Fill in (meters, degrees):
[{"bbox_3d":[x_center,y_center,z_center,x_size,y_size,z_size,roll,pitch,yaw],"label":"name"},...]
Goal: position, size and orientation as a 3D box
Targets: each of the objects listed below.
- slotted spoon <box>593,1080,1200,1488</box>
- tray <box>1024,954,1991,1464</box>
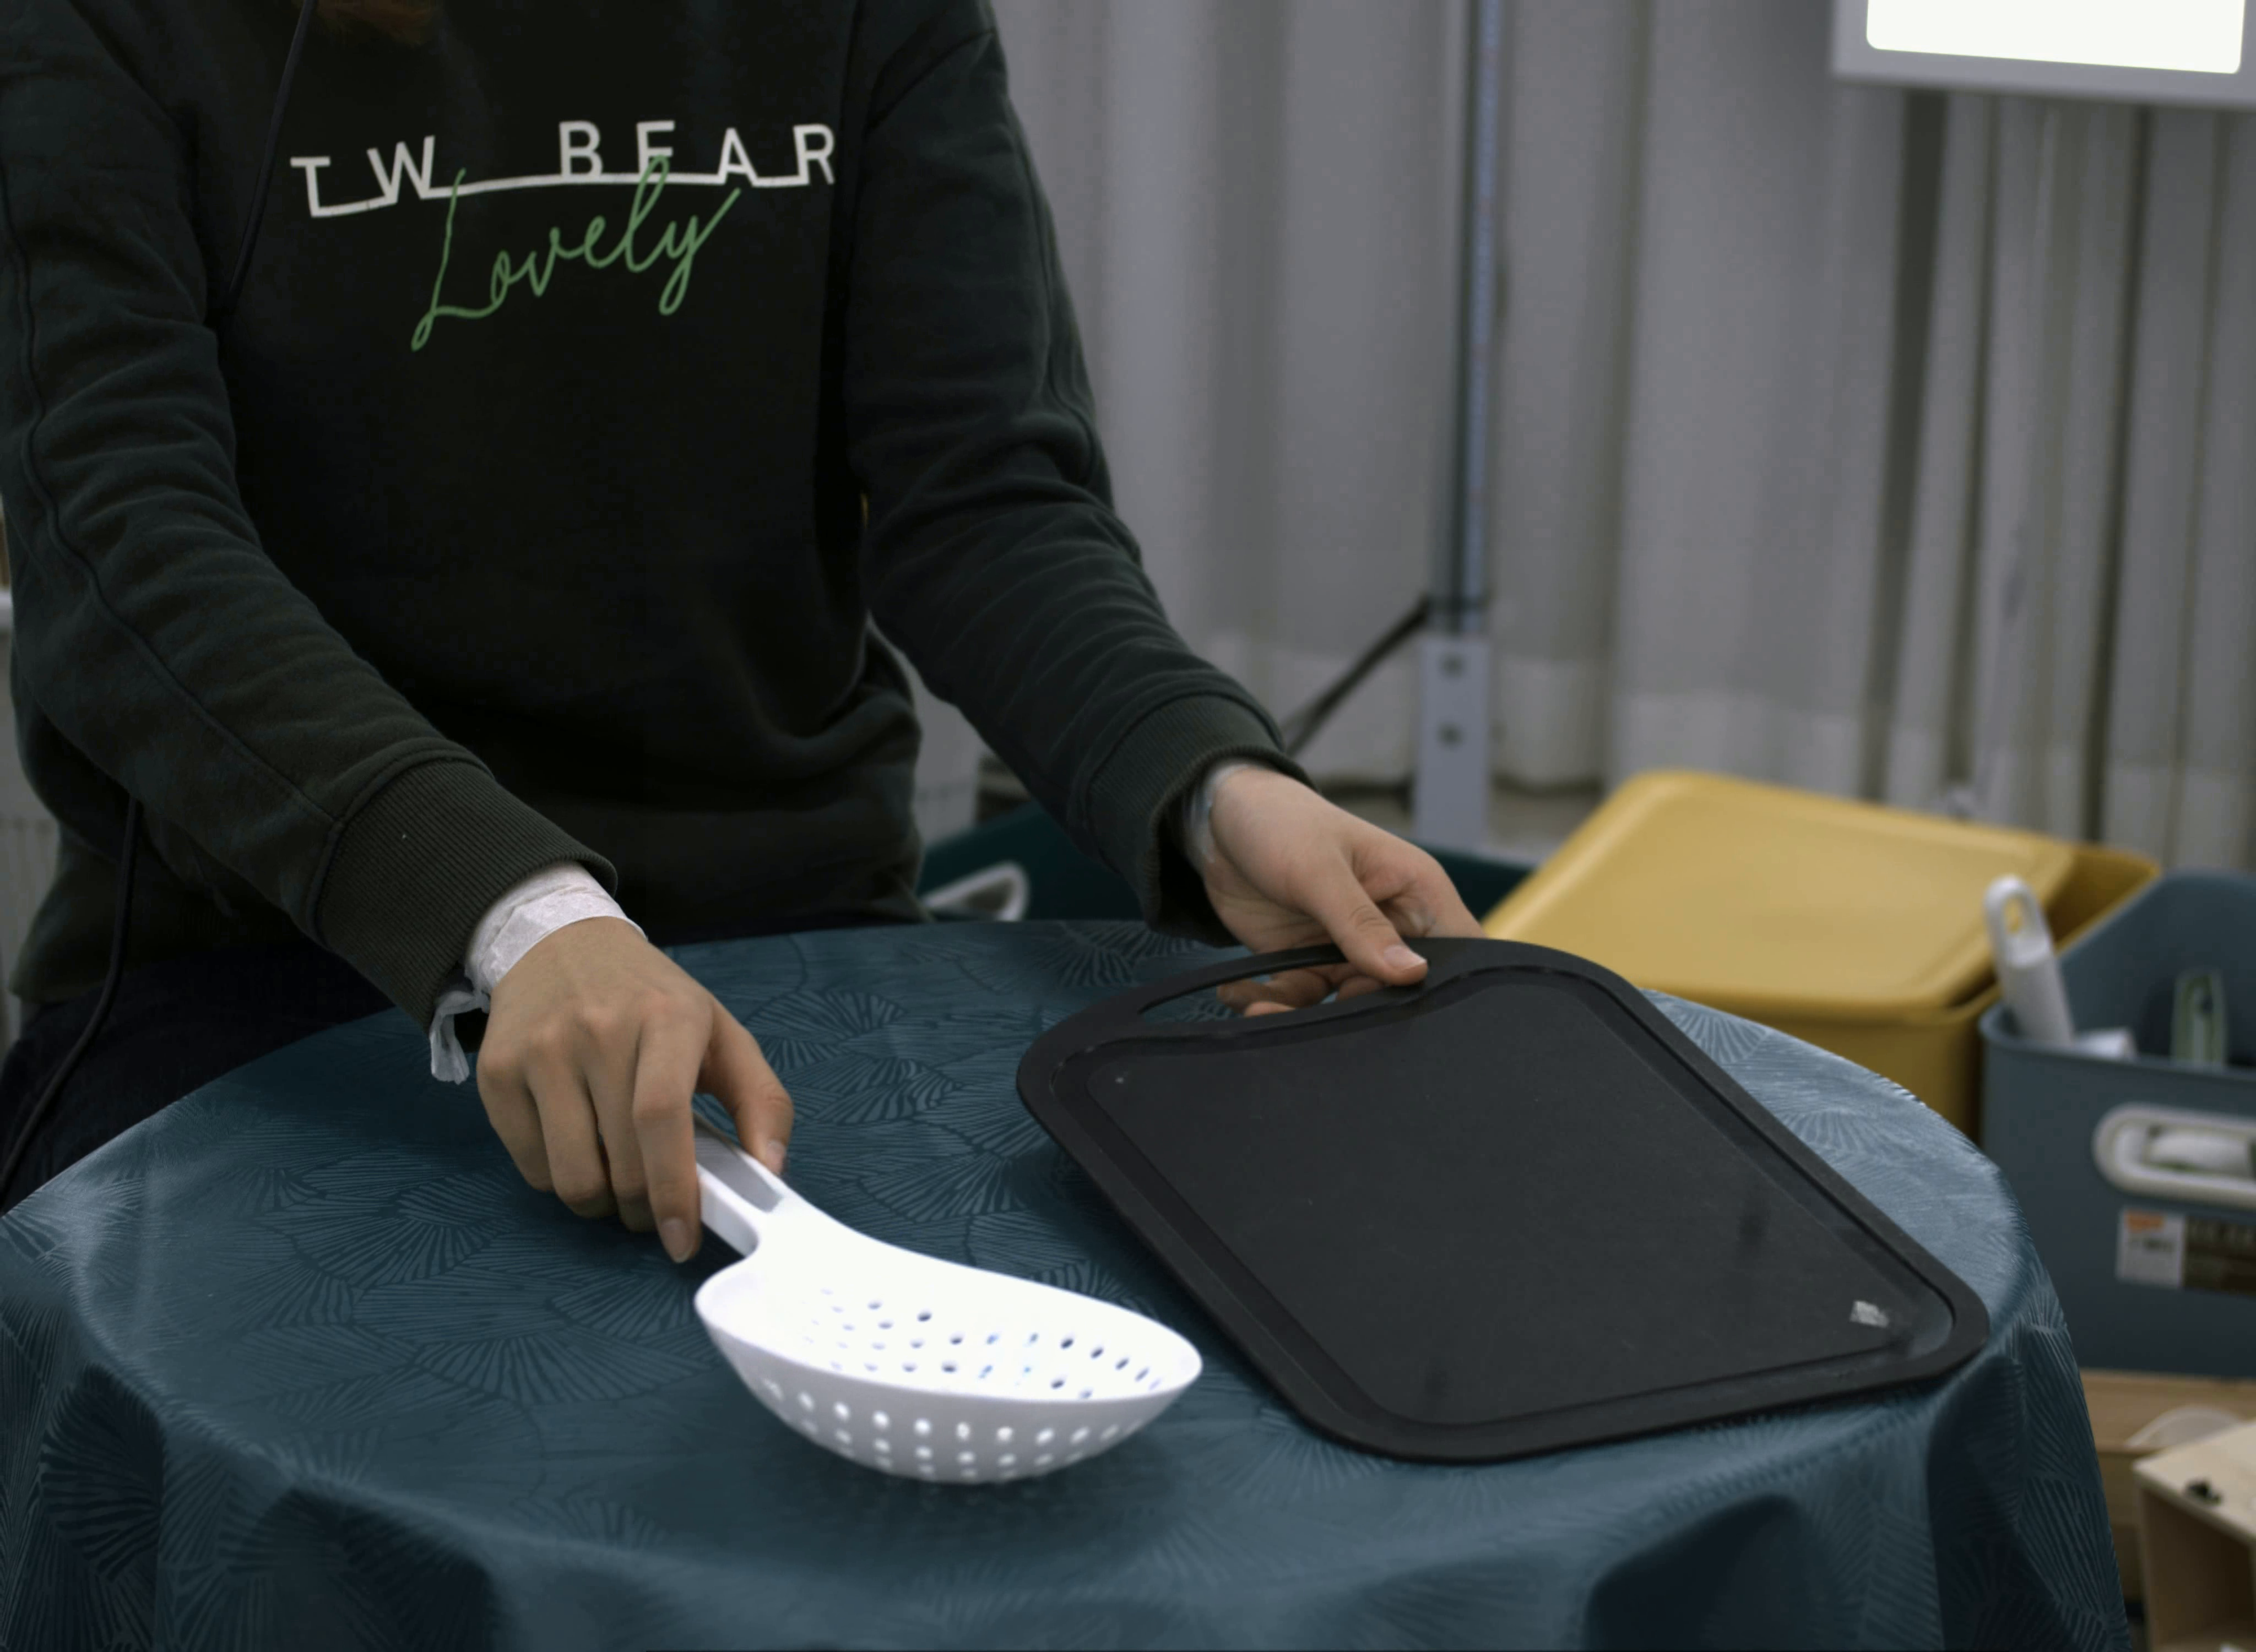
[{"bbox_3d":[-0.091,0.120,1.495,0.137,0.046,0.345,6,14,-25],"label":"slotted spoon"},{"bbox_3d":[0.102,0.104,1.575,0.211,0.010,0.321,-7,25,-21],"label":"tray"}]
